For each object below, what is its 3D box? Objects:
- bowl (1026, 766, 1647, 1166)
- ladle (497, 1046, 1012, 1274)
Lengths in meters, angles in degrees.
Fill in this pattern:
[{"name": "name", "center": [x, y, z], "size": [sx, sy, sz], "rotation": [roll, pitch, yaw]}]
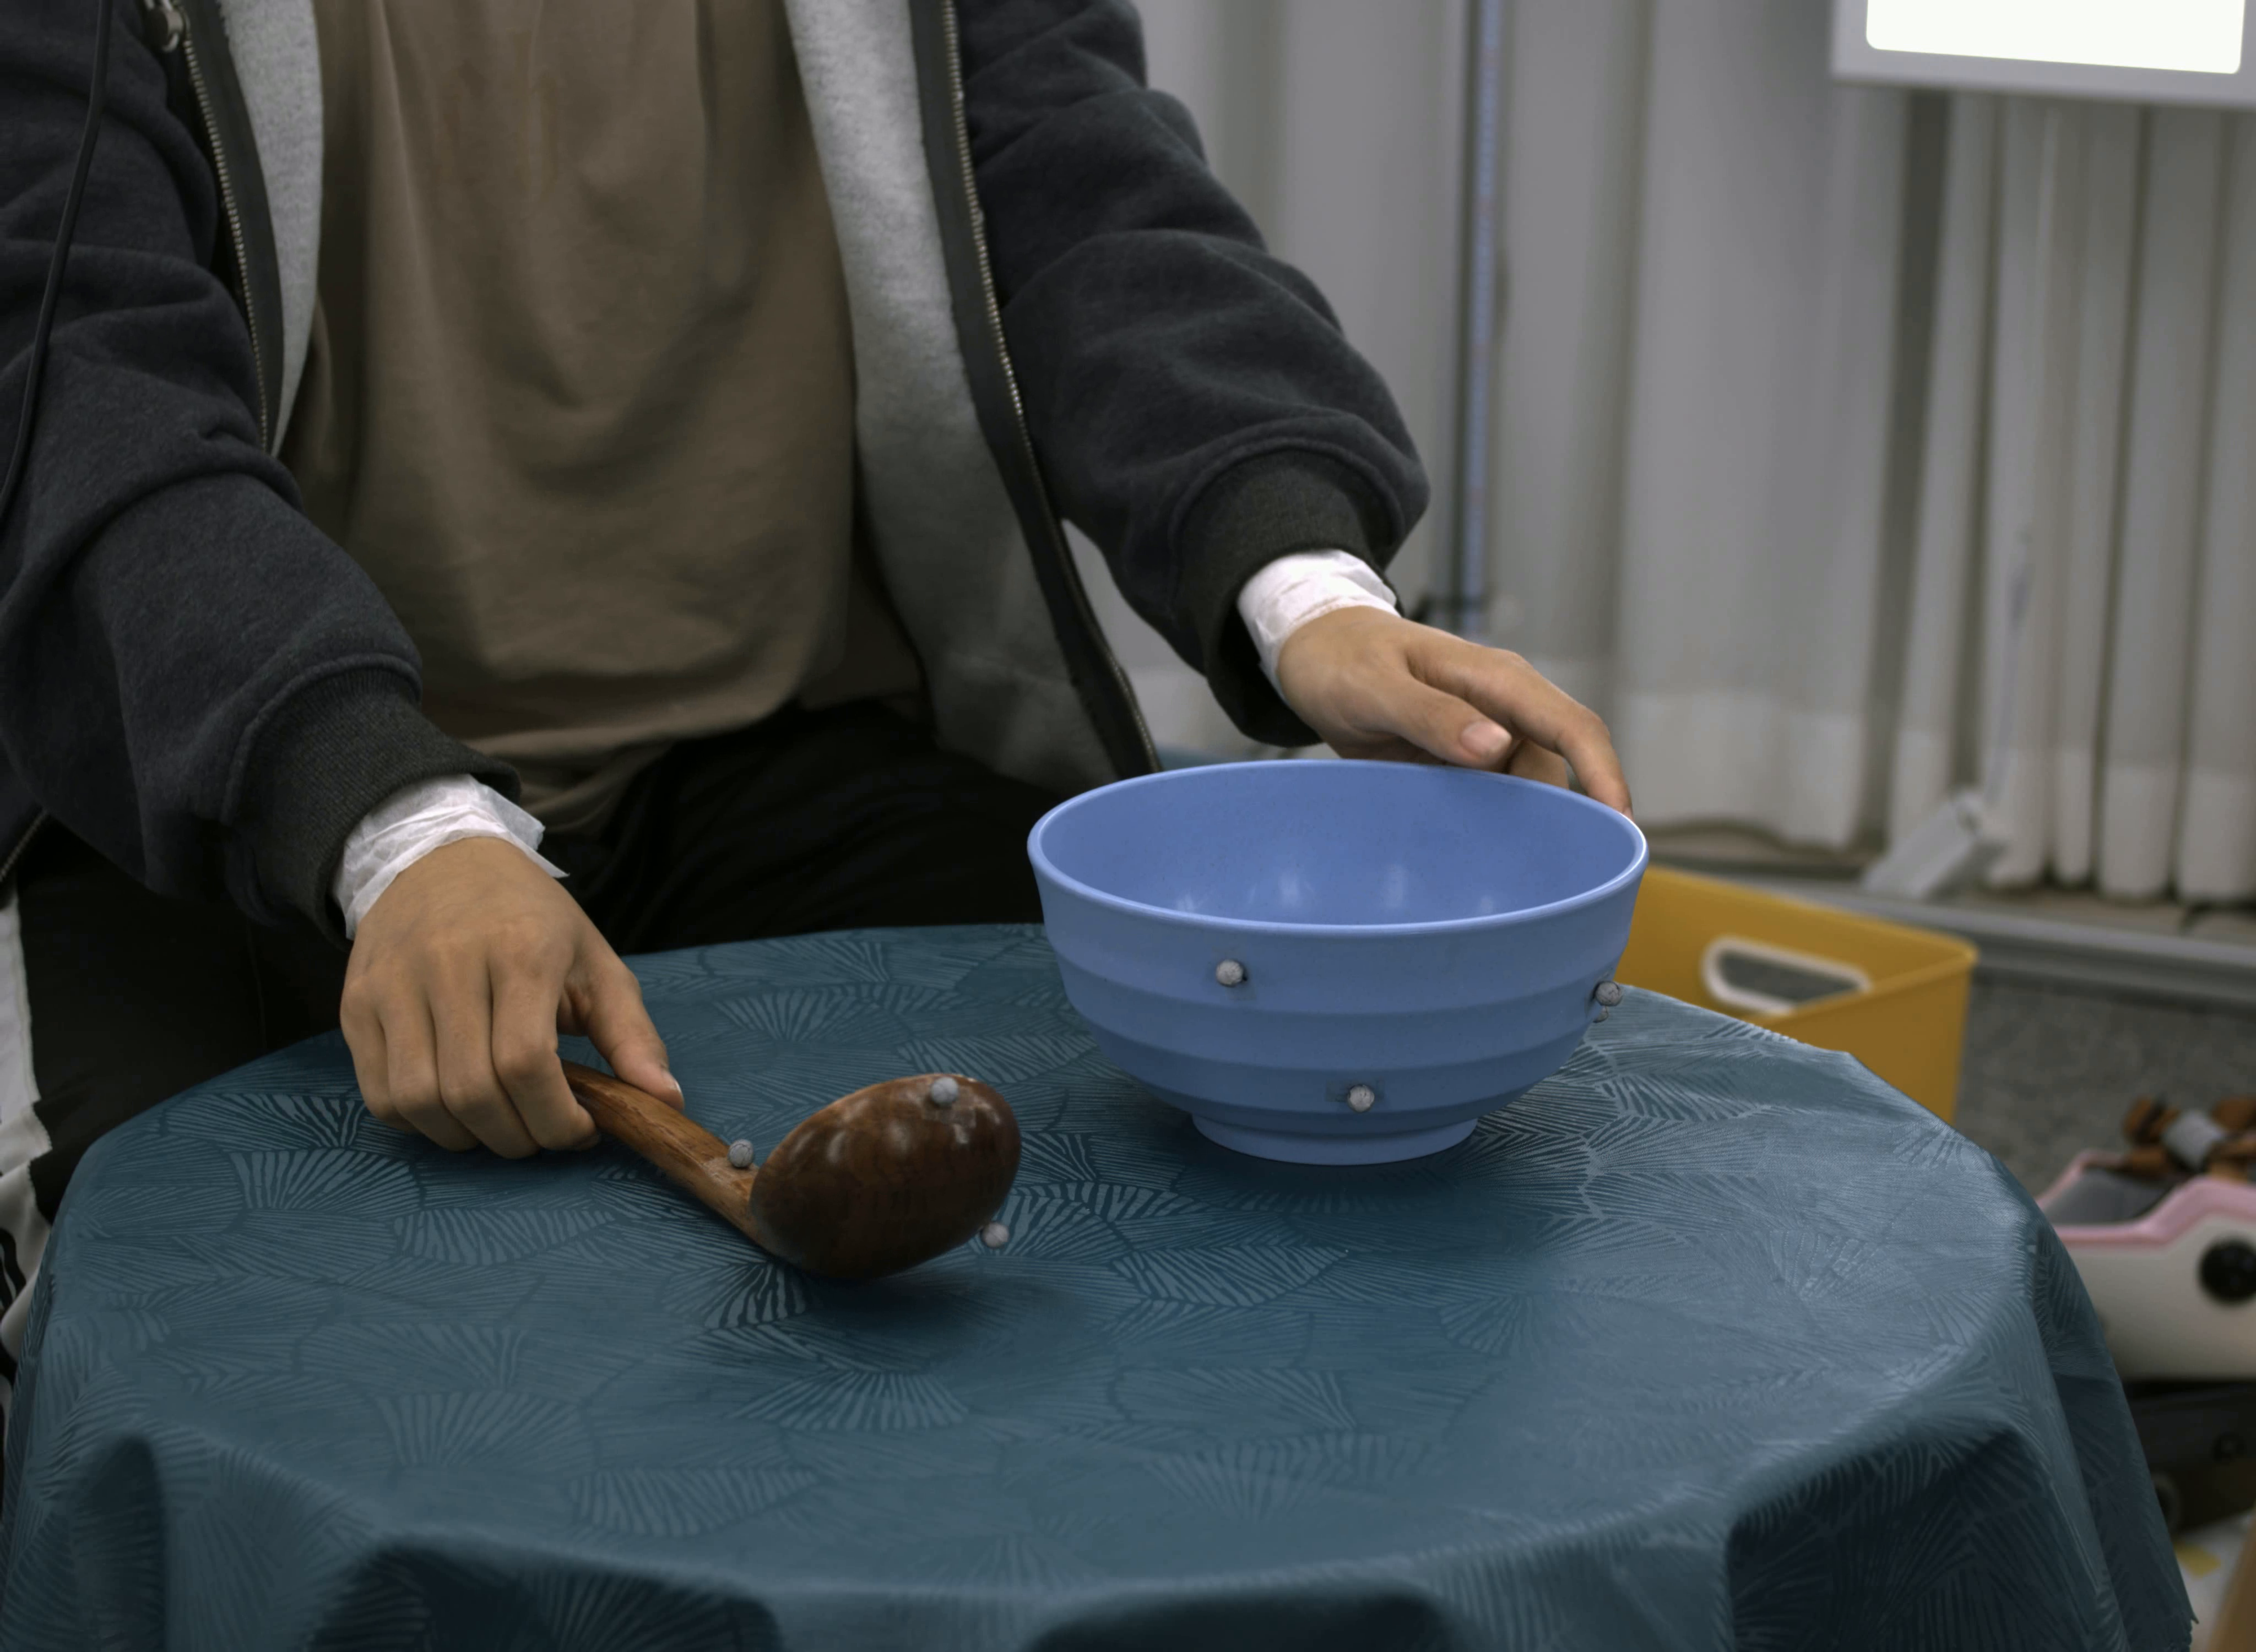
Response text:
[{"name": "bowl", "center": [0.066, 0.049, 1.676], "size": [0.196, 0.096, 0.195], "rotation": [0, 15, 1]}, {"name": "ladle", "center": [-0.127, 0.076, 1.601], "size": [0.082, 0.077, 0.270], "rotation": [3, 12, -33]}]
